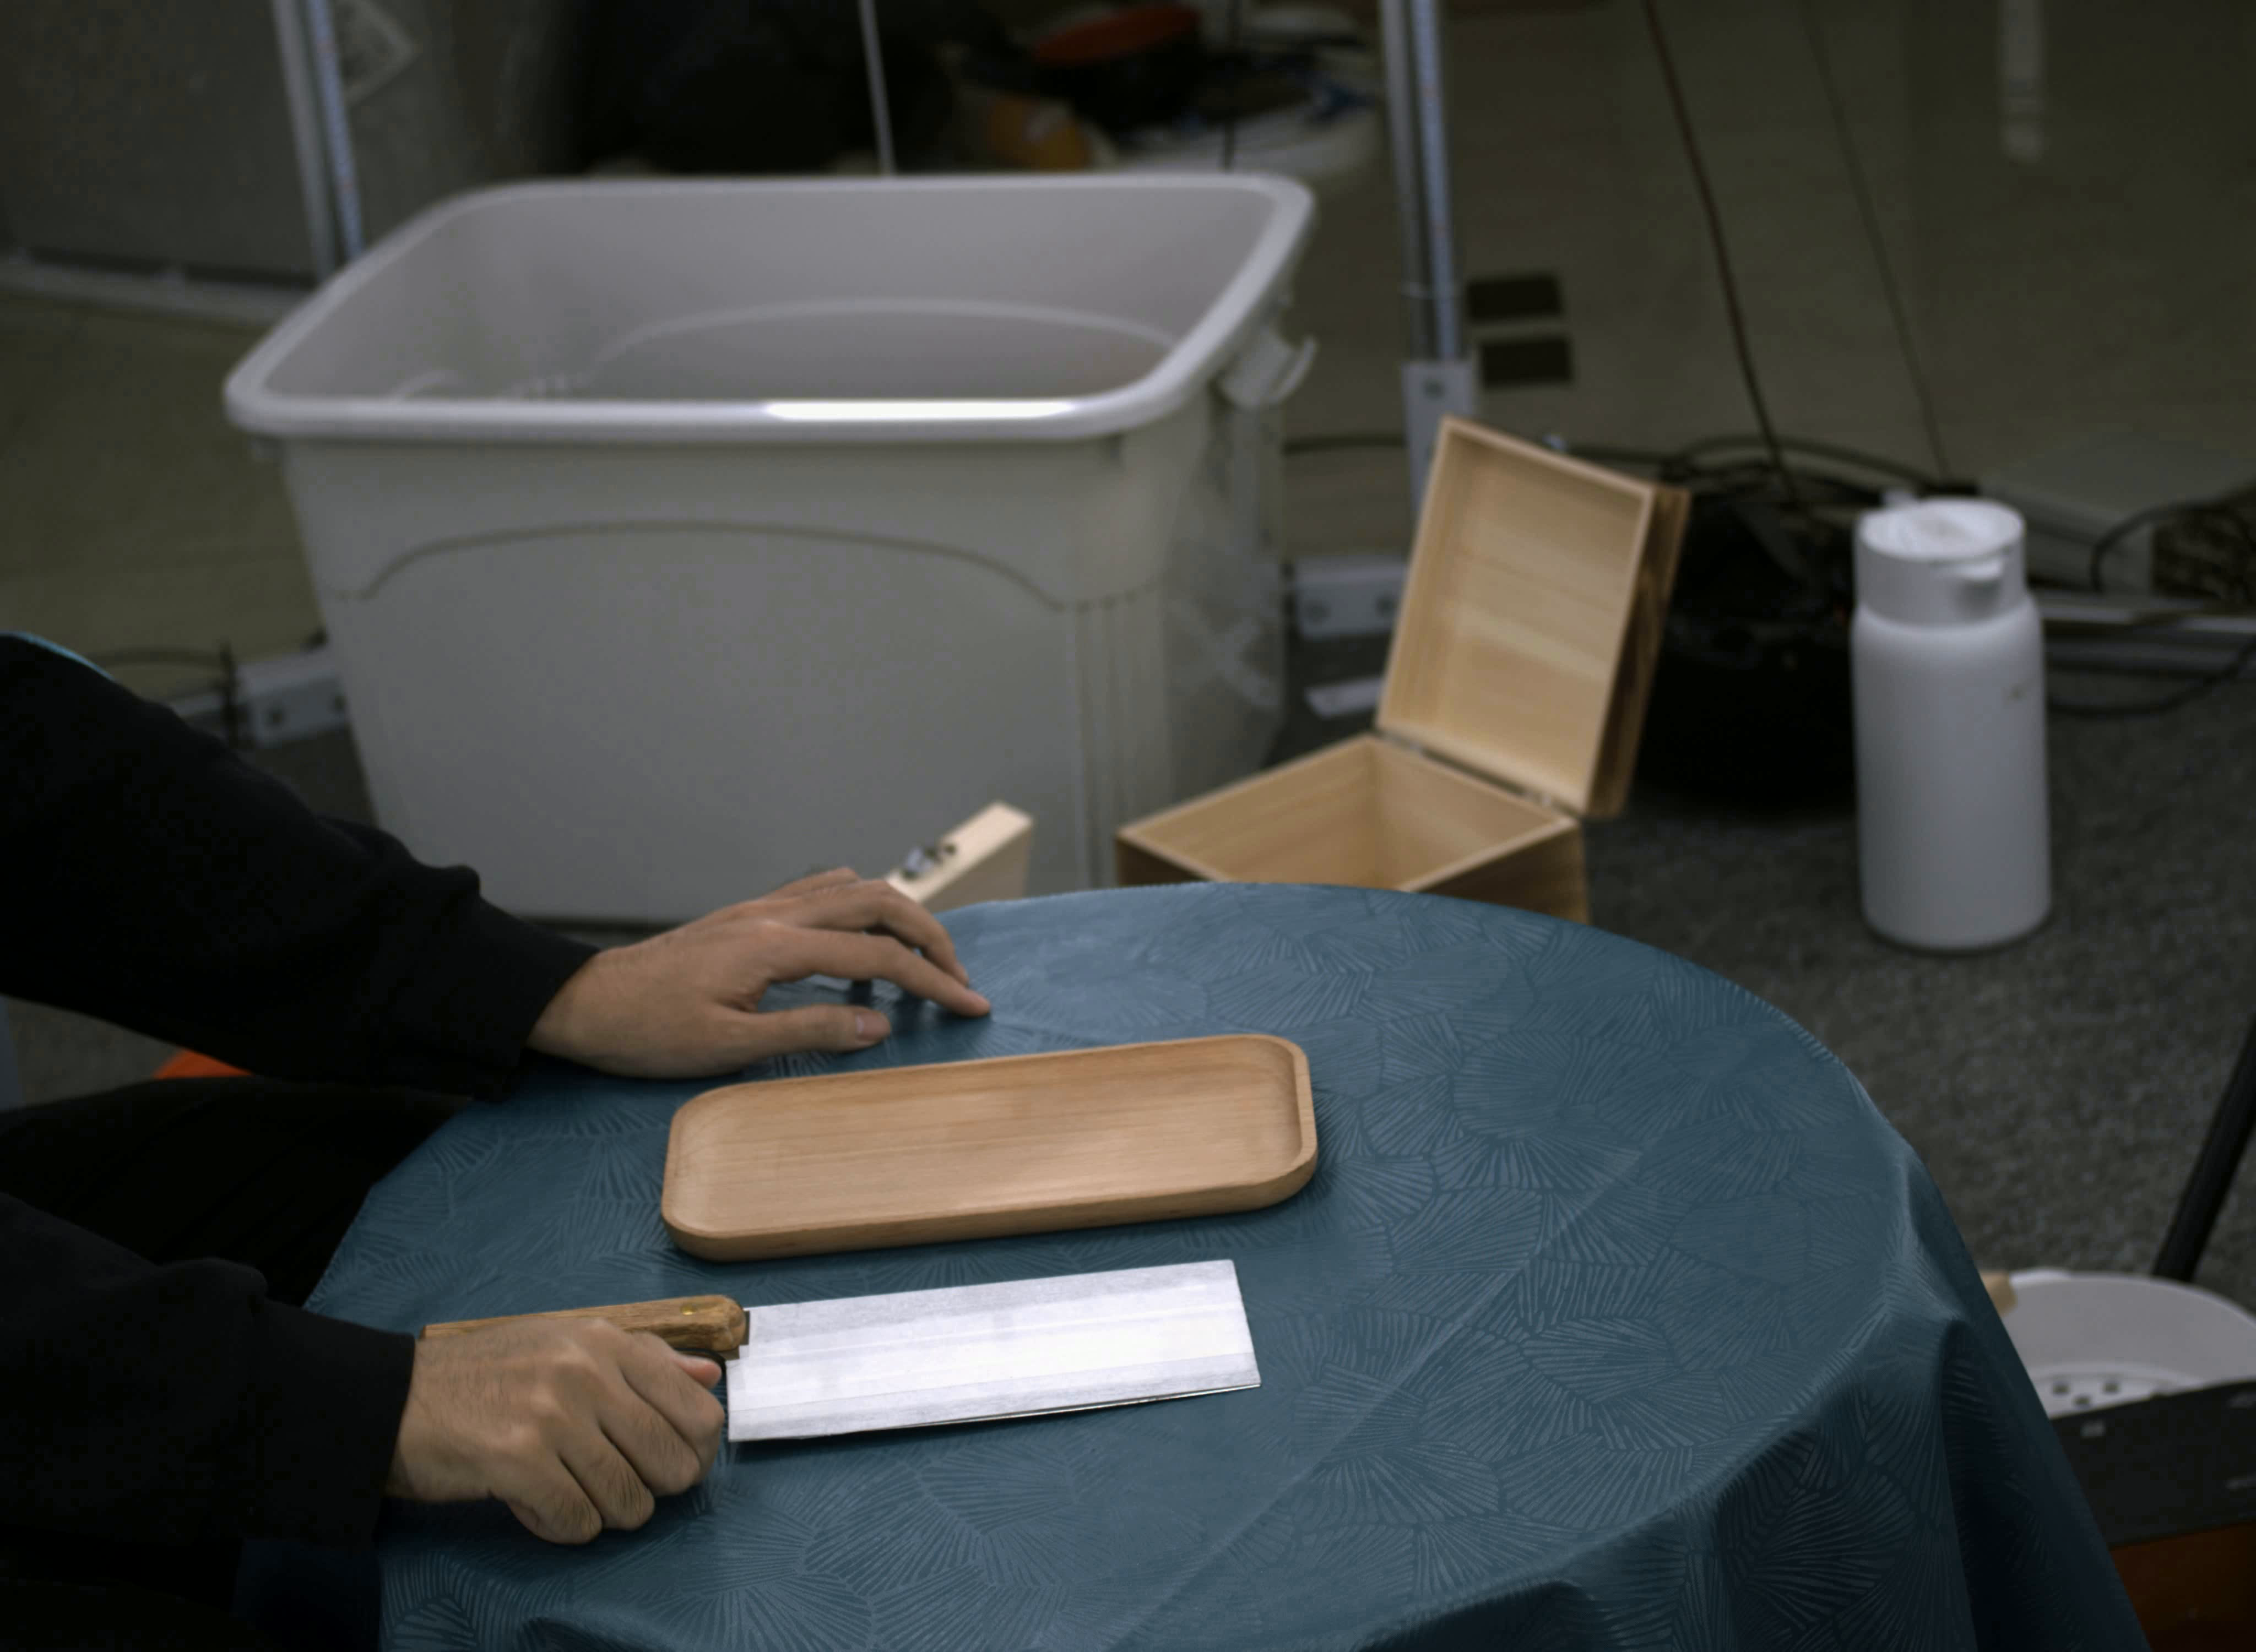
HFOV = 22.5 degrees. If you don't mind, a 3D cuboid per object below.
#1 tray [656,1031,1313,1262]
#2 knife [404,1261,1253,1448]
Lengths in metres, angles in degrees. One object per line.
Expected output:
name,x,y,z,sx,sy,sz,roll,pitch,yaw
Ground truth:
tray,-0.054,0.123,2.175,0.250,0.023,0.129,-6,23,4
knife,-0.108,0.193,2.040,0.305,0.021,0.091,-6,27,-3
